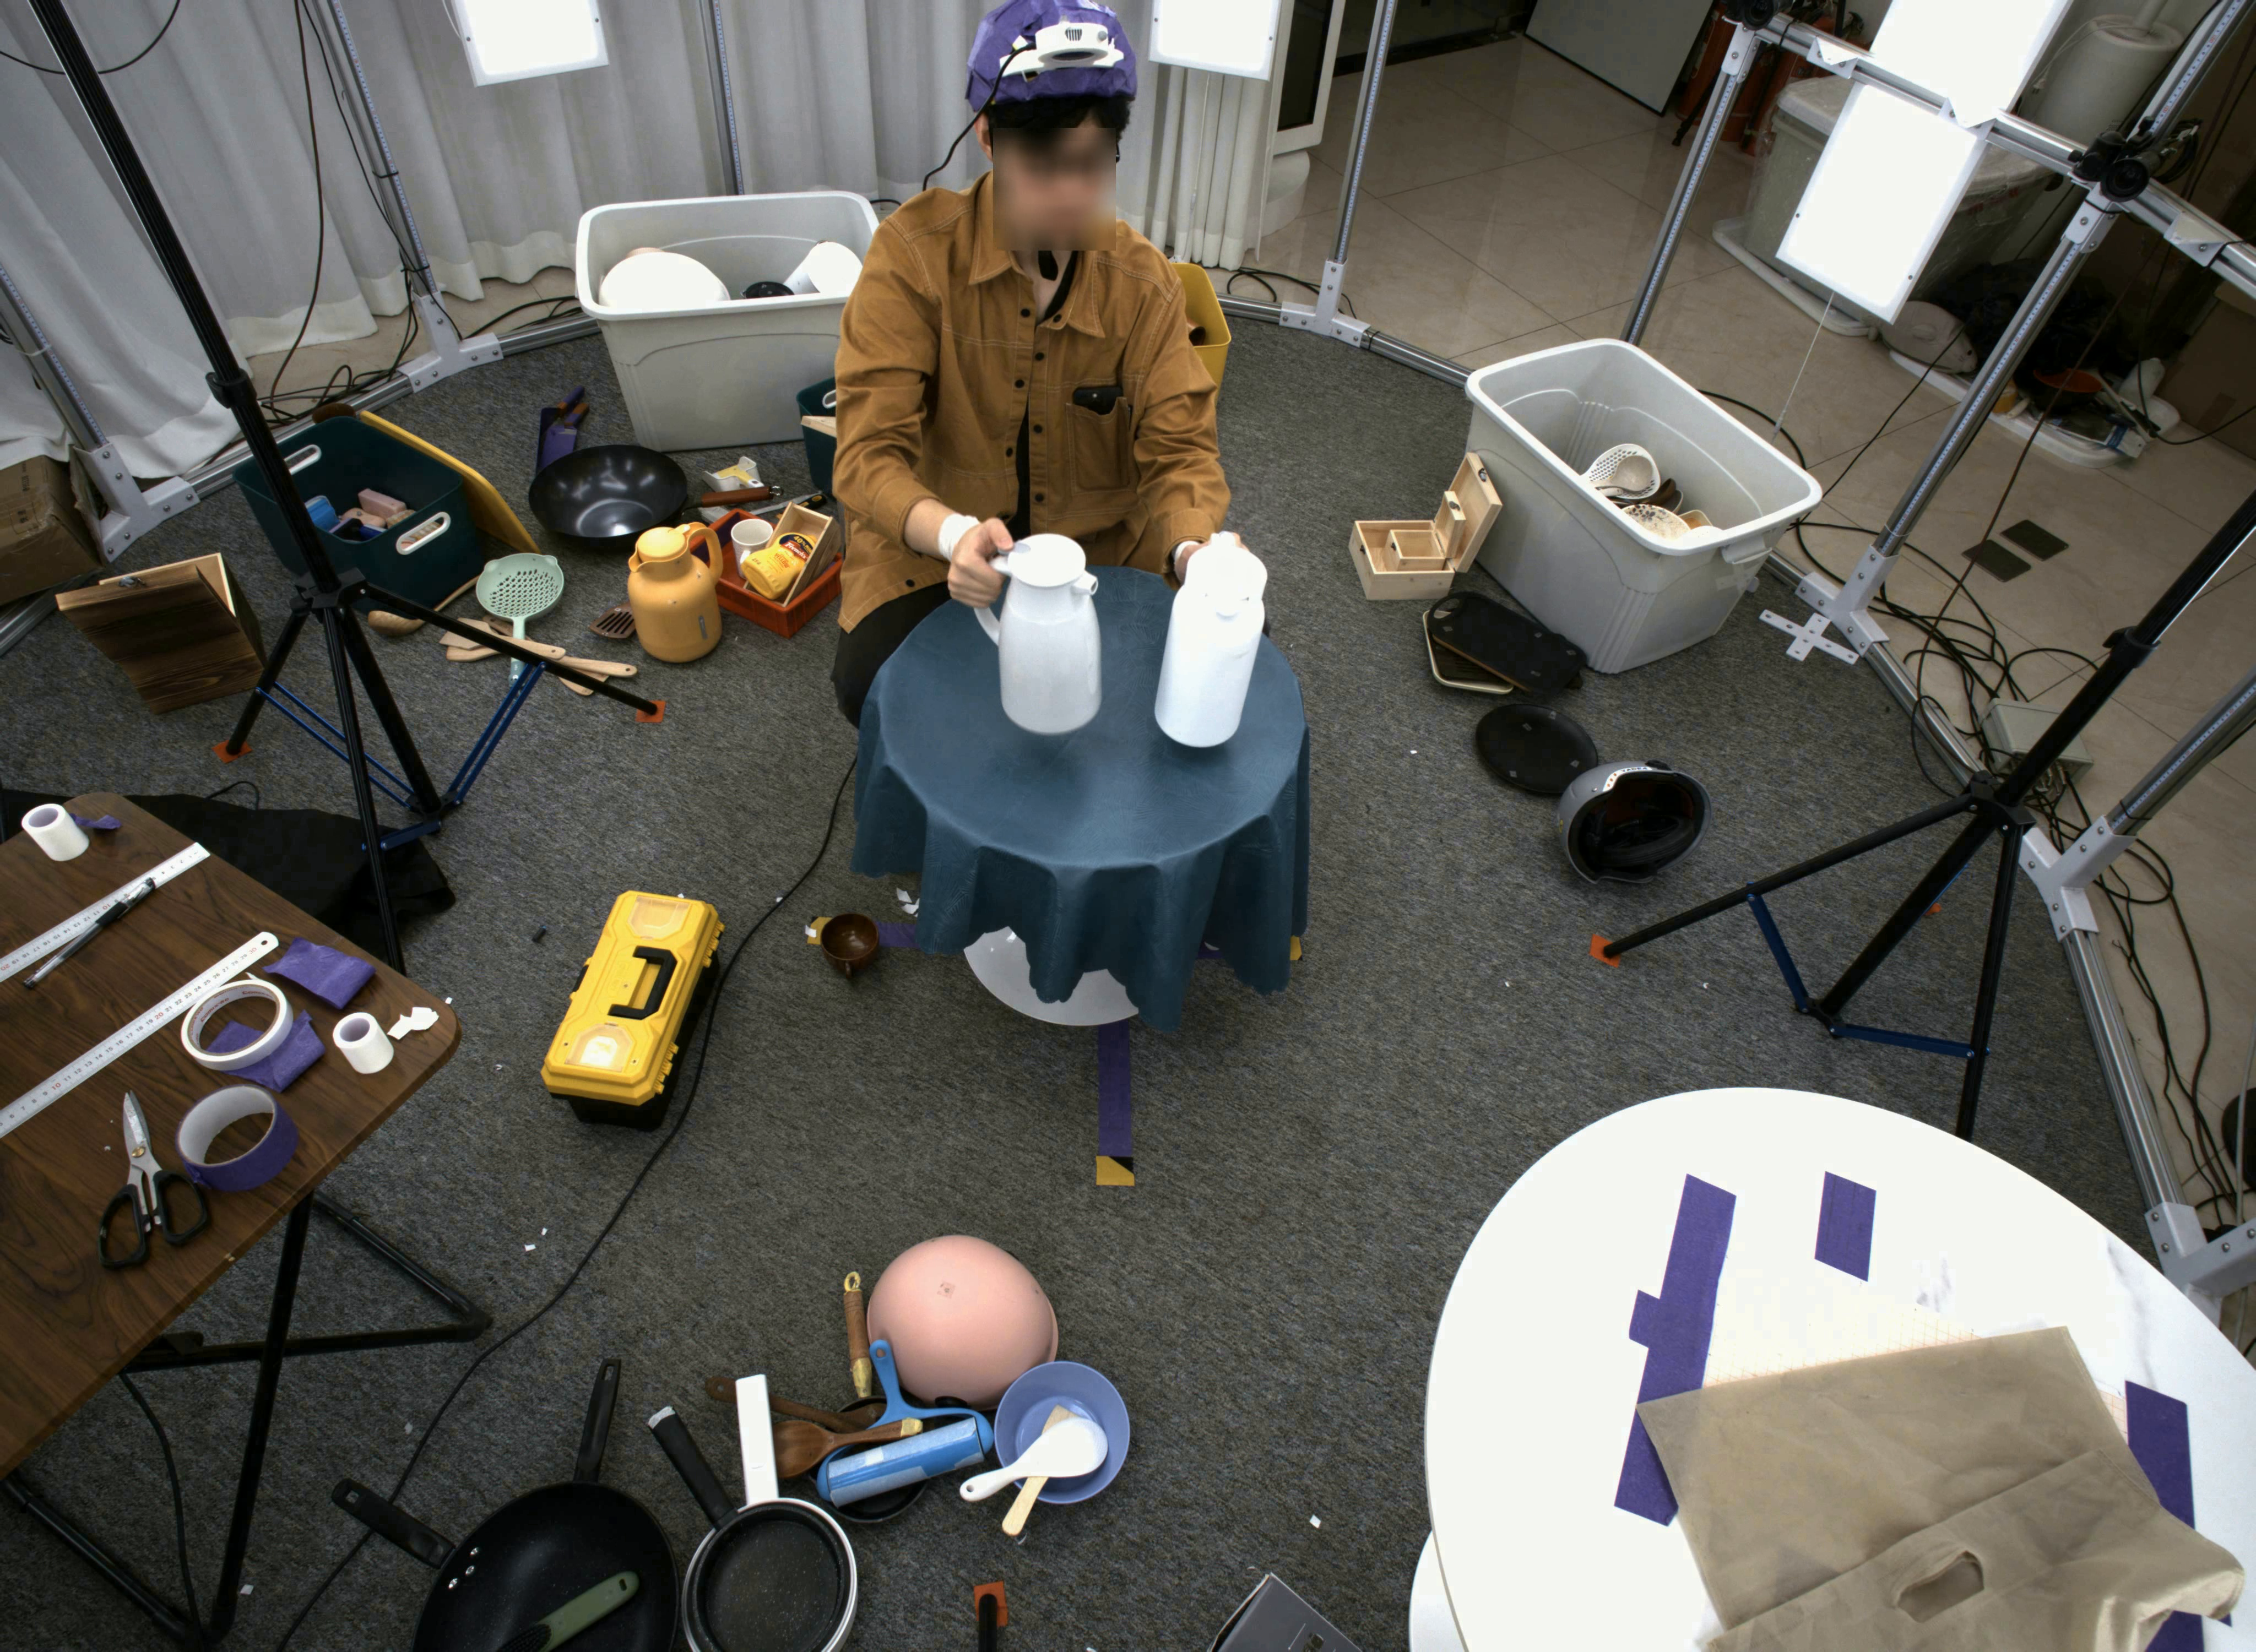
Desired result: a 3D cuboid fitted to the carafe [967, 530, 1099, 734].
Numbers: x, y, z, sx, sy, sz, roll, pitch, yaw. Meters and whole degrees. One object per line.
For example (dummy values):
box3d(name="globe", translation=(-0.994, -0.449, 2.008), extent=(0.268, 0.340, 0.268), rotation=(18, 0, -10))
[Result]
box3d(name="carafe", translation=(-0.119, -0.250, 1.595), extent=(0.168, 0.242, 0.135), rotation=(19, 53, 14))

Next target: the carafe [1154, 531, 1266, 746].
box3d(name="carafe", translation=(0.104, -0.243, 1.660), extent=(0.124, 0.262, 0.177), rotation=(3, 50, -2))
